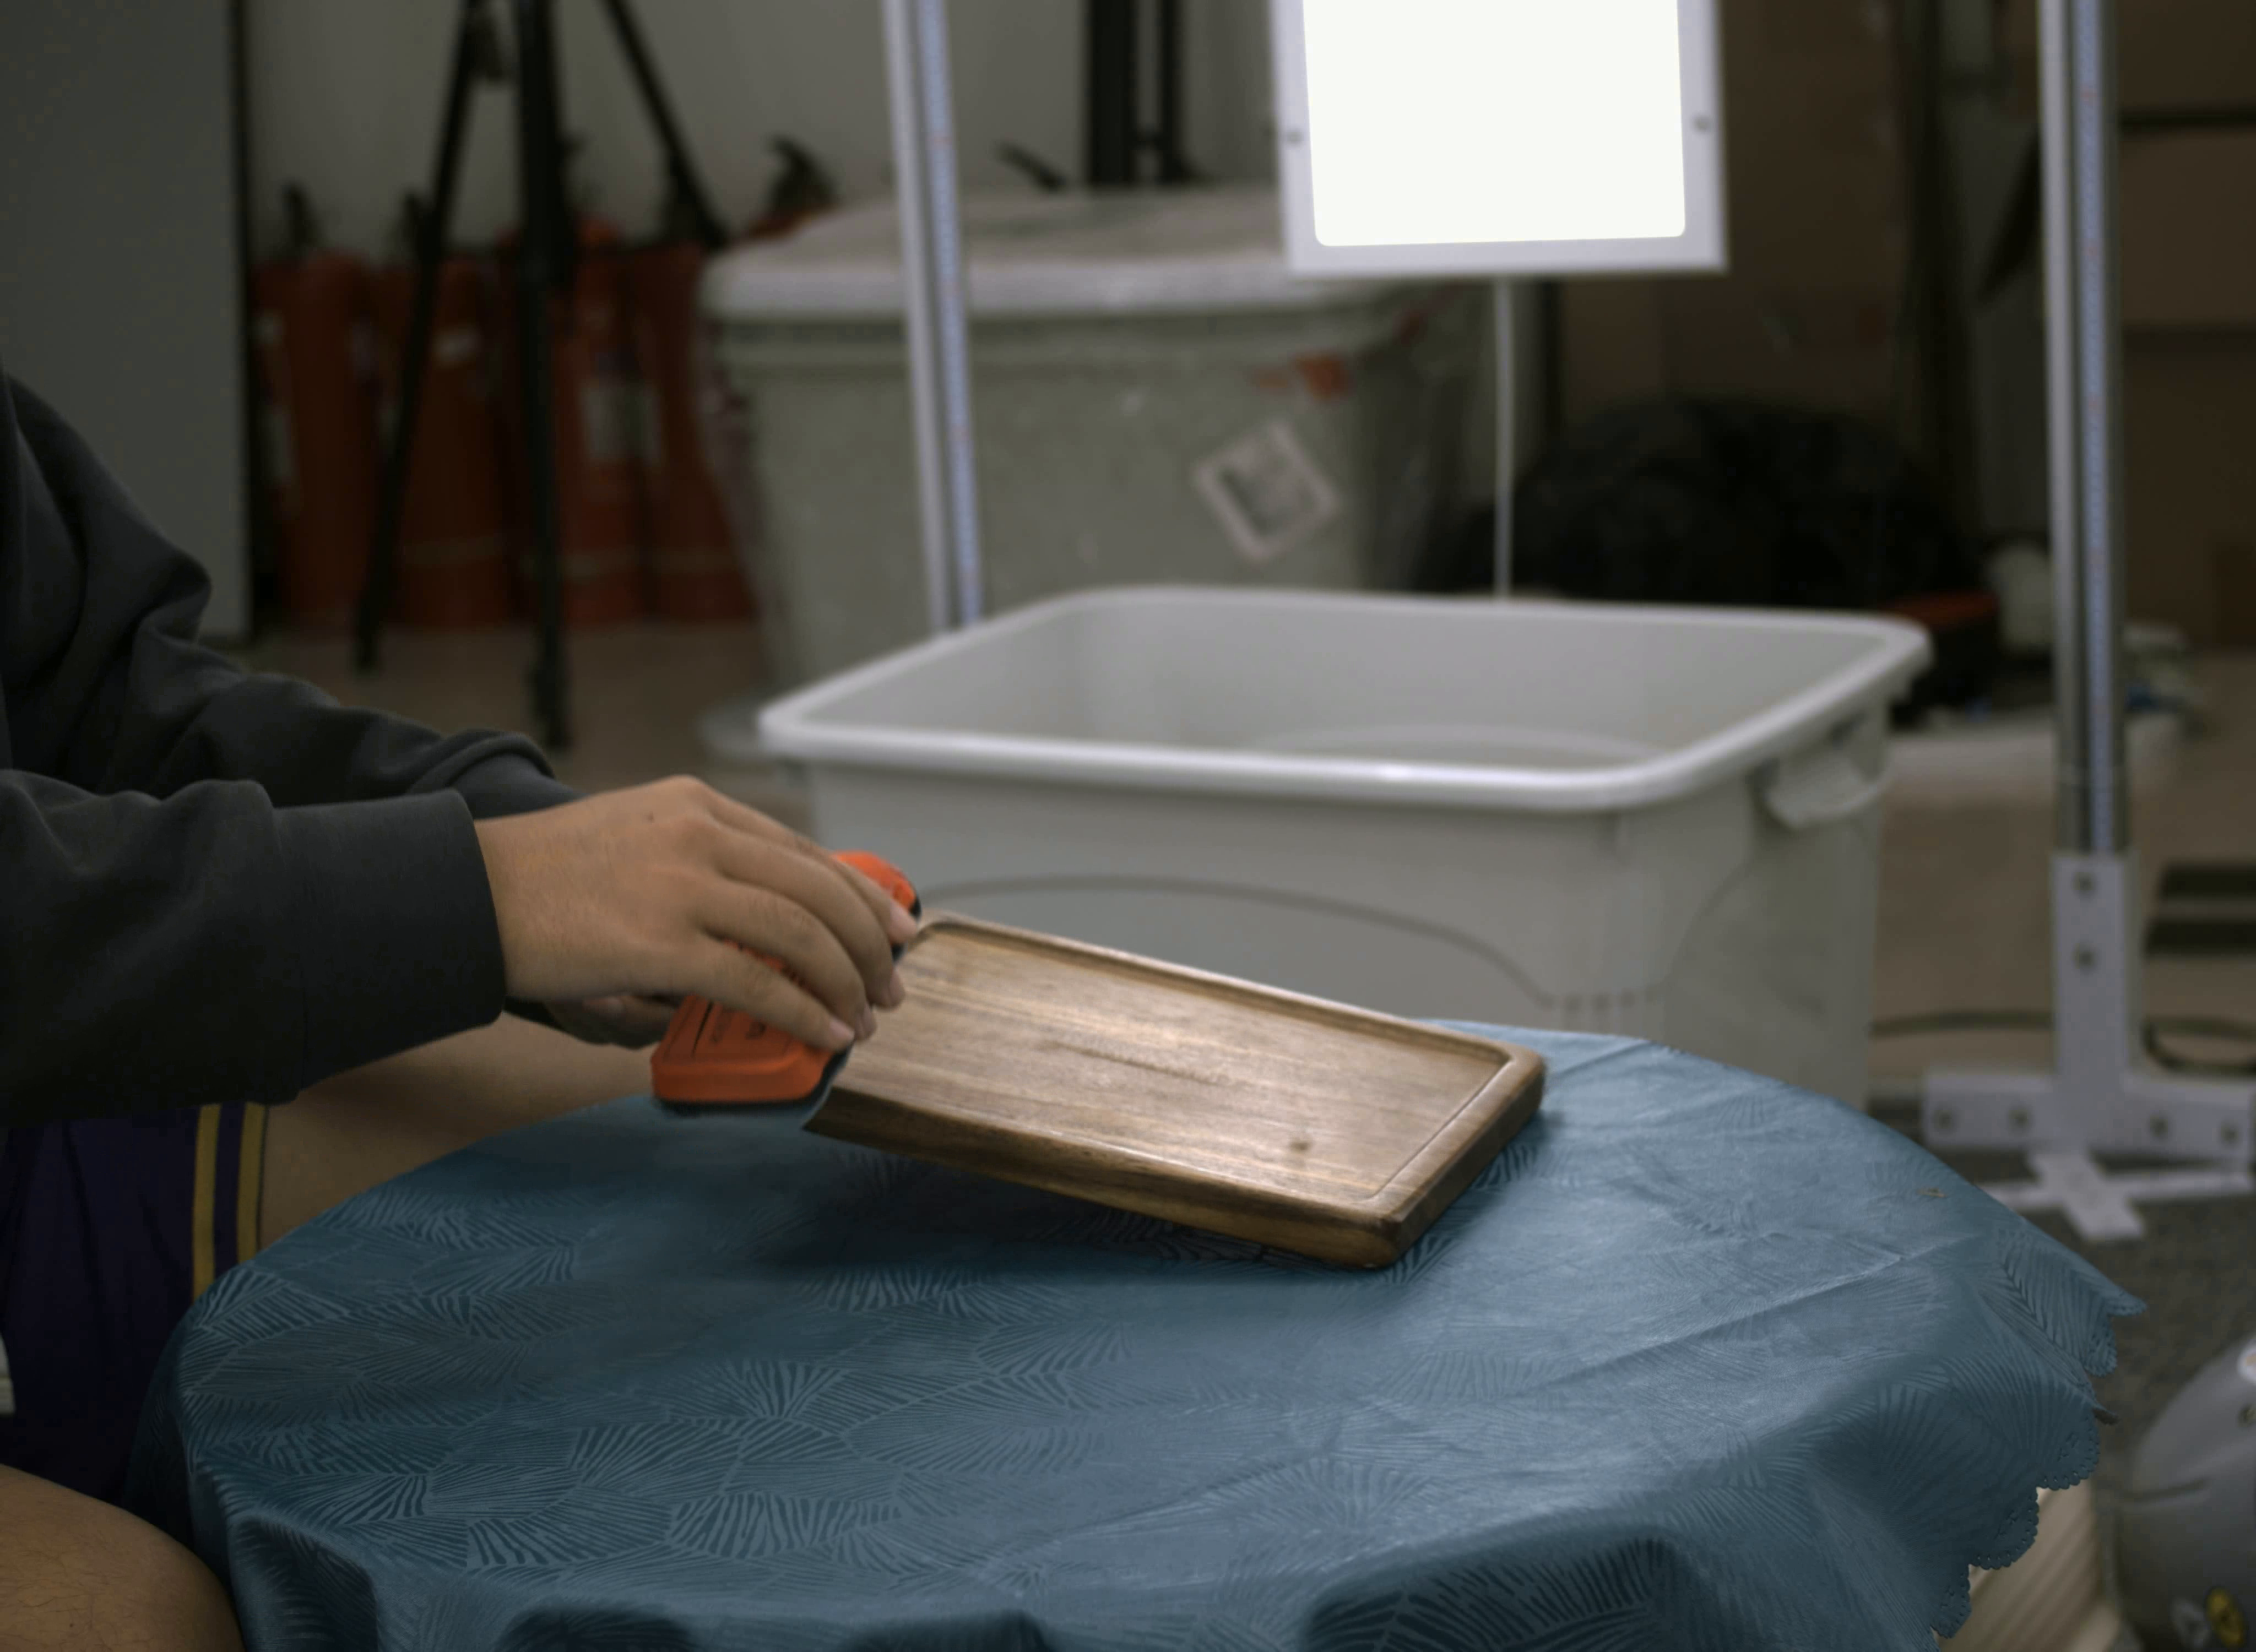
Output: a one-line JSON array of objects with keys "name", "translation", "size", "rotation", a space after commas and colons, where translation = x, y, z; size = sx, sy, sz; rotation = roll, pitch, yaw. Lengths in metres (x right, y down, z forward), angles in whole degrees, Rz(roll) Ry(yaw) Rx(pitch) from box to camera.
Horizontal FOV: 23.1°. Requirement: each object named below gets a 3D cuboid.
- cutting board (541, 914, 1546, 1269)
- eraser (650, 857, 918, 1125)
[{"name": "cutting board", "translation": [-0.044, 0.078, 1.927], "size": [0.356, 0.023, 0.197], "rotation": [12, 19, 19]}, {"name": "eraser", "translation": [-0.112, 0.053, 1.808], "size": [0.060, 0.023, 0.106], "rotation": [-3, 40, 28]}]
